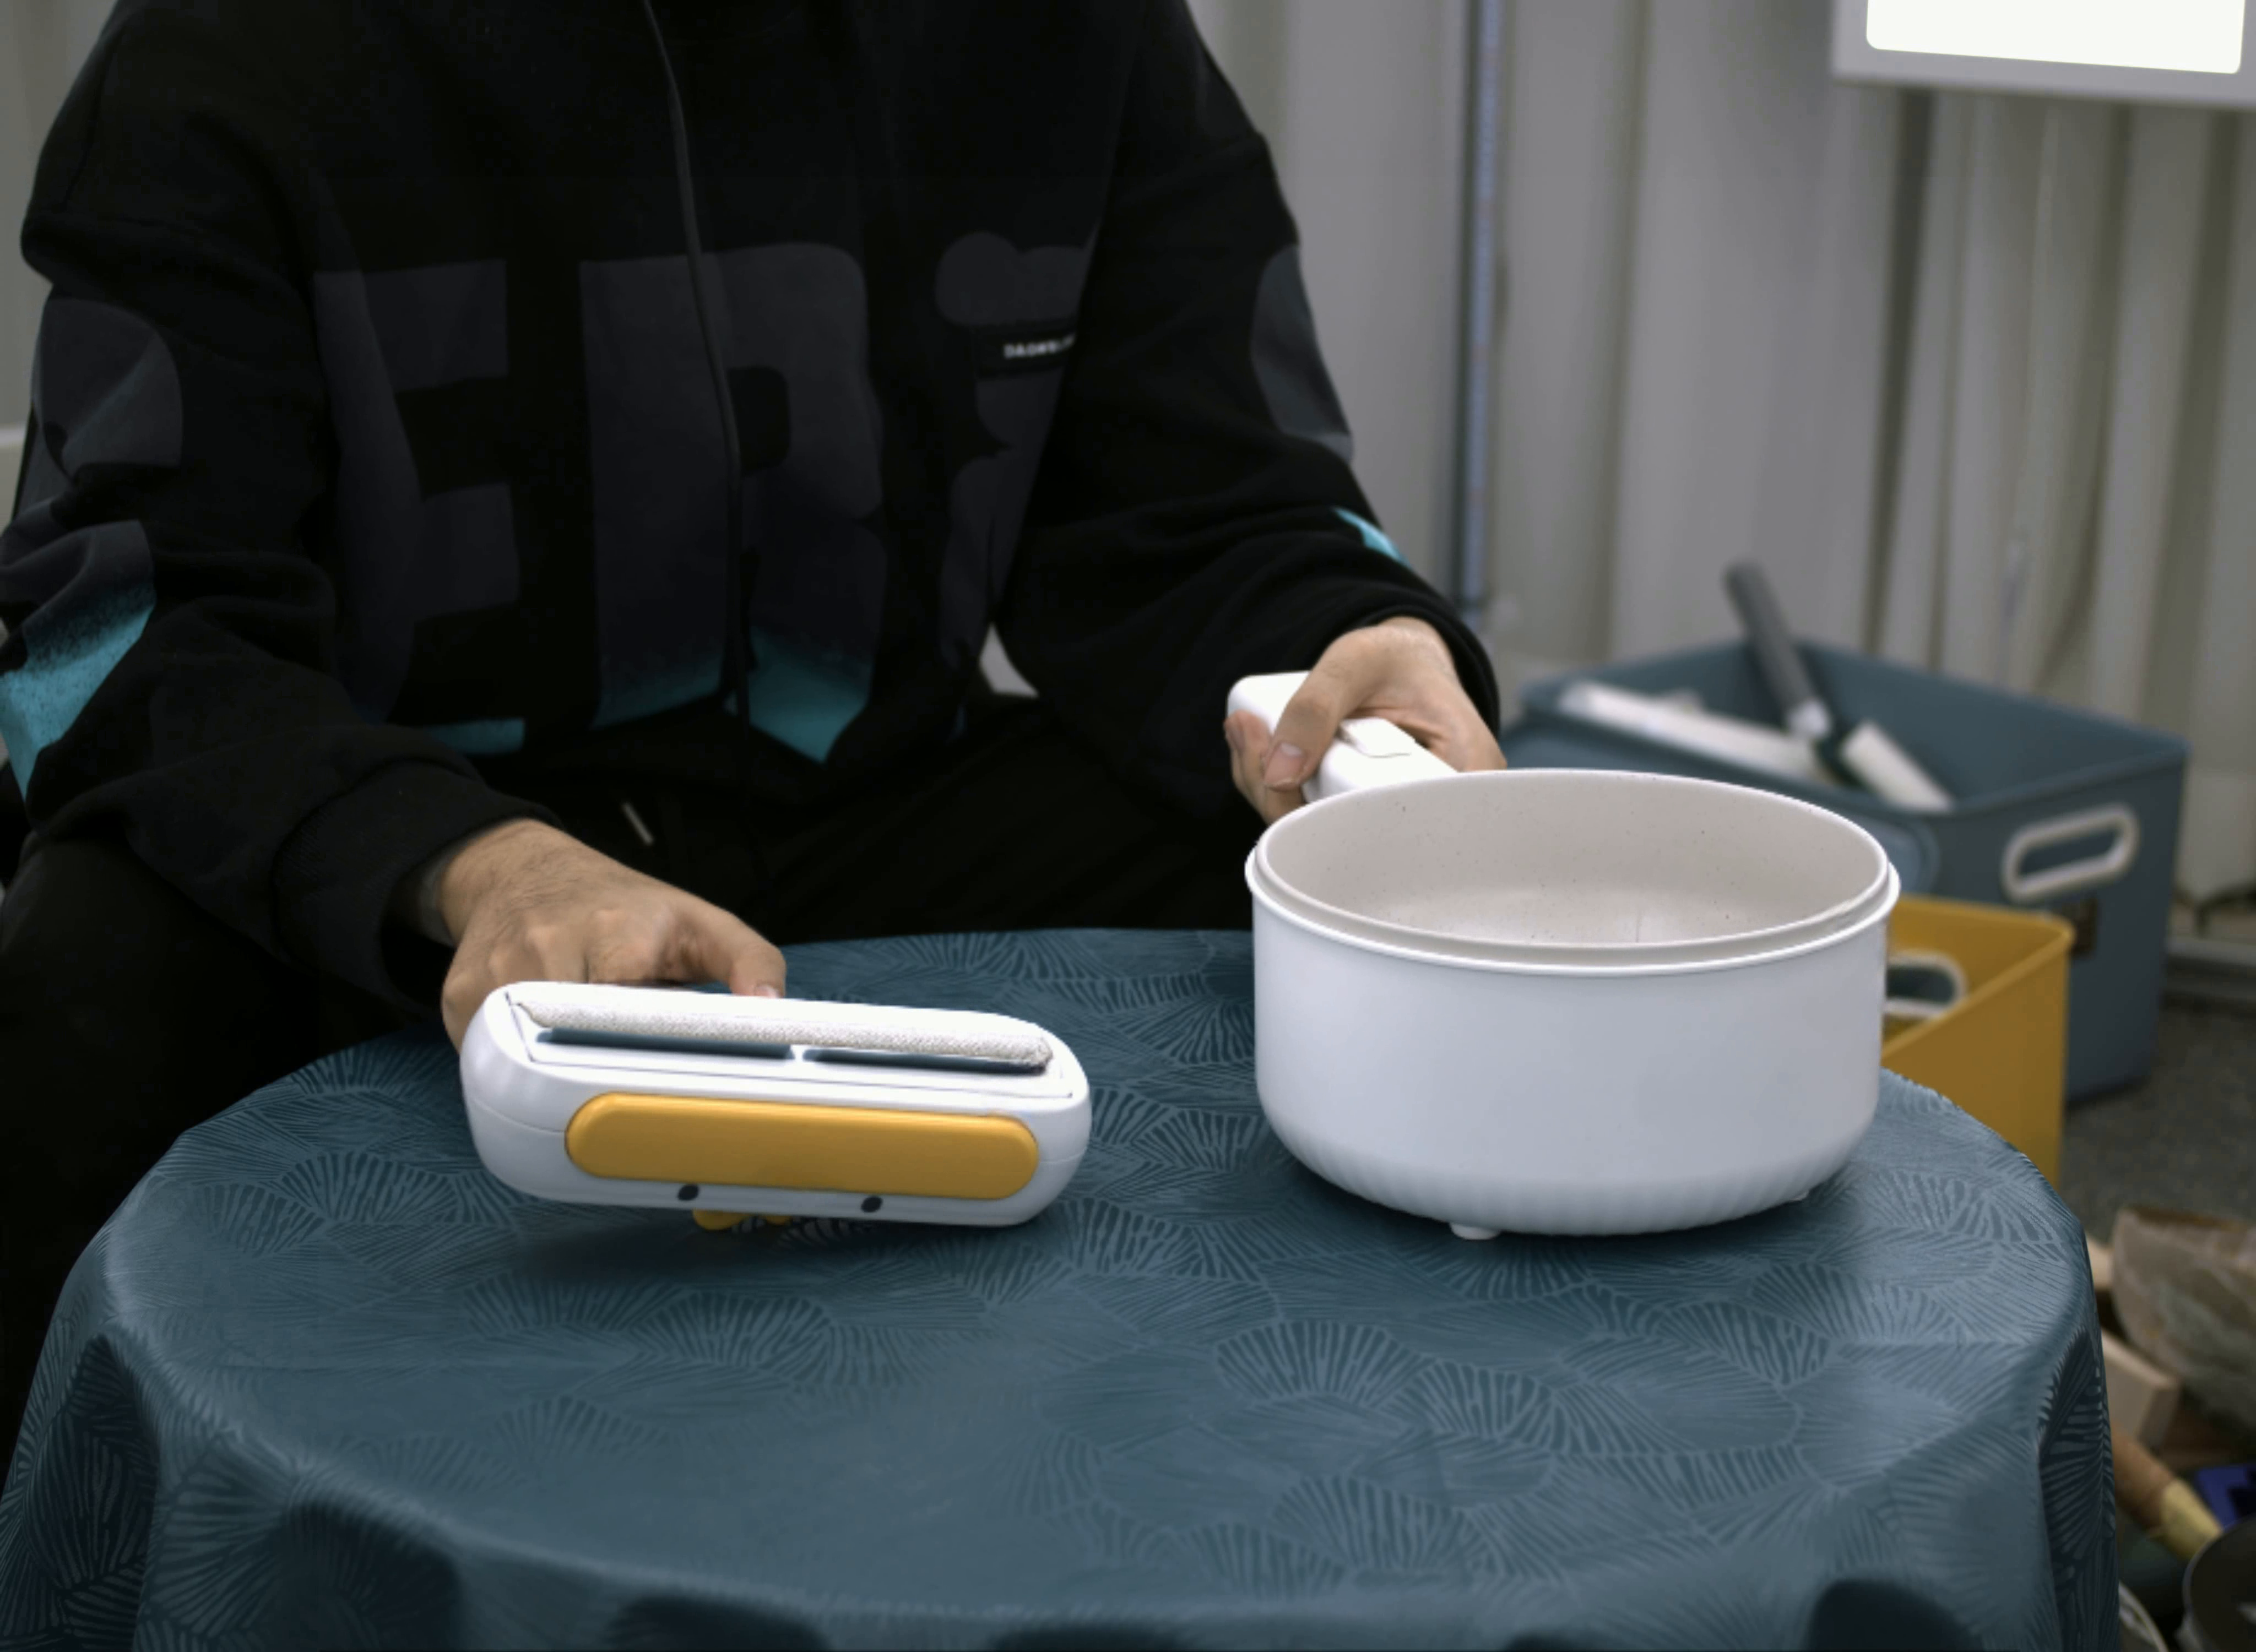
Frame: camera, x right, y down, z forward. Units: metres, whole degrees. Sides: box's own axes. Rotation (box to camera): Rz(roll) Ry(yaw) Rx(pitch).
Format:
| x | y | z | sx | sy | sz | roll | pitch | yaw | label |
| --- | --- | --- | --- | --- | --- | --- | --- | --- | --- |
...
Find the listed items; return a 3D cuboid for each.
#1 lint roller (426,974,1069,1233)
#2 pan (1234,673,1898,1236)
| x | y | z | sx | sy | sz | roll | pitch | yaw | label |
| --- | --- | --- | --- | --- | --- | --- | --- | --- | --- |
| -0.127 | 0.071 | 1.621 | 0.193 | 0.075 | 0.190 | 2 | 18 | -17 | lint roller |
| 0.111 | 0.037 | 1.703 | 0.202 | 0.103 | 0.351 | -5 | 16 | -19 | pan |
